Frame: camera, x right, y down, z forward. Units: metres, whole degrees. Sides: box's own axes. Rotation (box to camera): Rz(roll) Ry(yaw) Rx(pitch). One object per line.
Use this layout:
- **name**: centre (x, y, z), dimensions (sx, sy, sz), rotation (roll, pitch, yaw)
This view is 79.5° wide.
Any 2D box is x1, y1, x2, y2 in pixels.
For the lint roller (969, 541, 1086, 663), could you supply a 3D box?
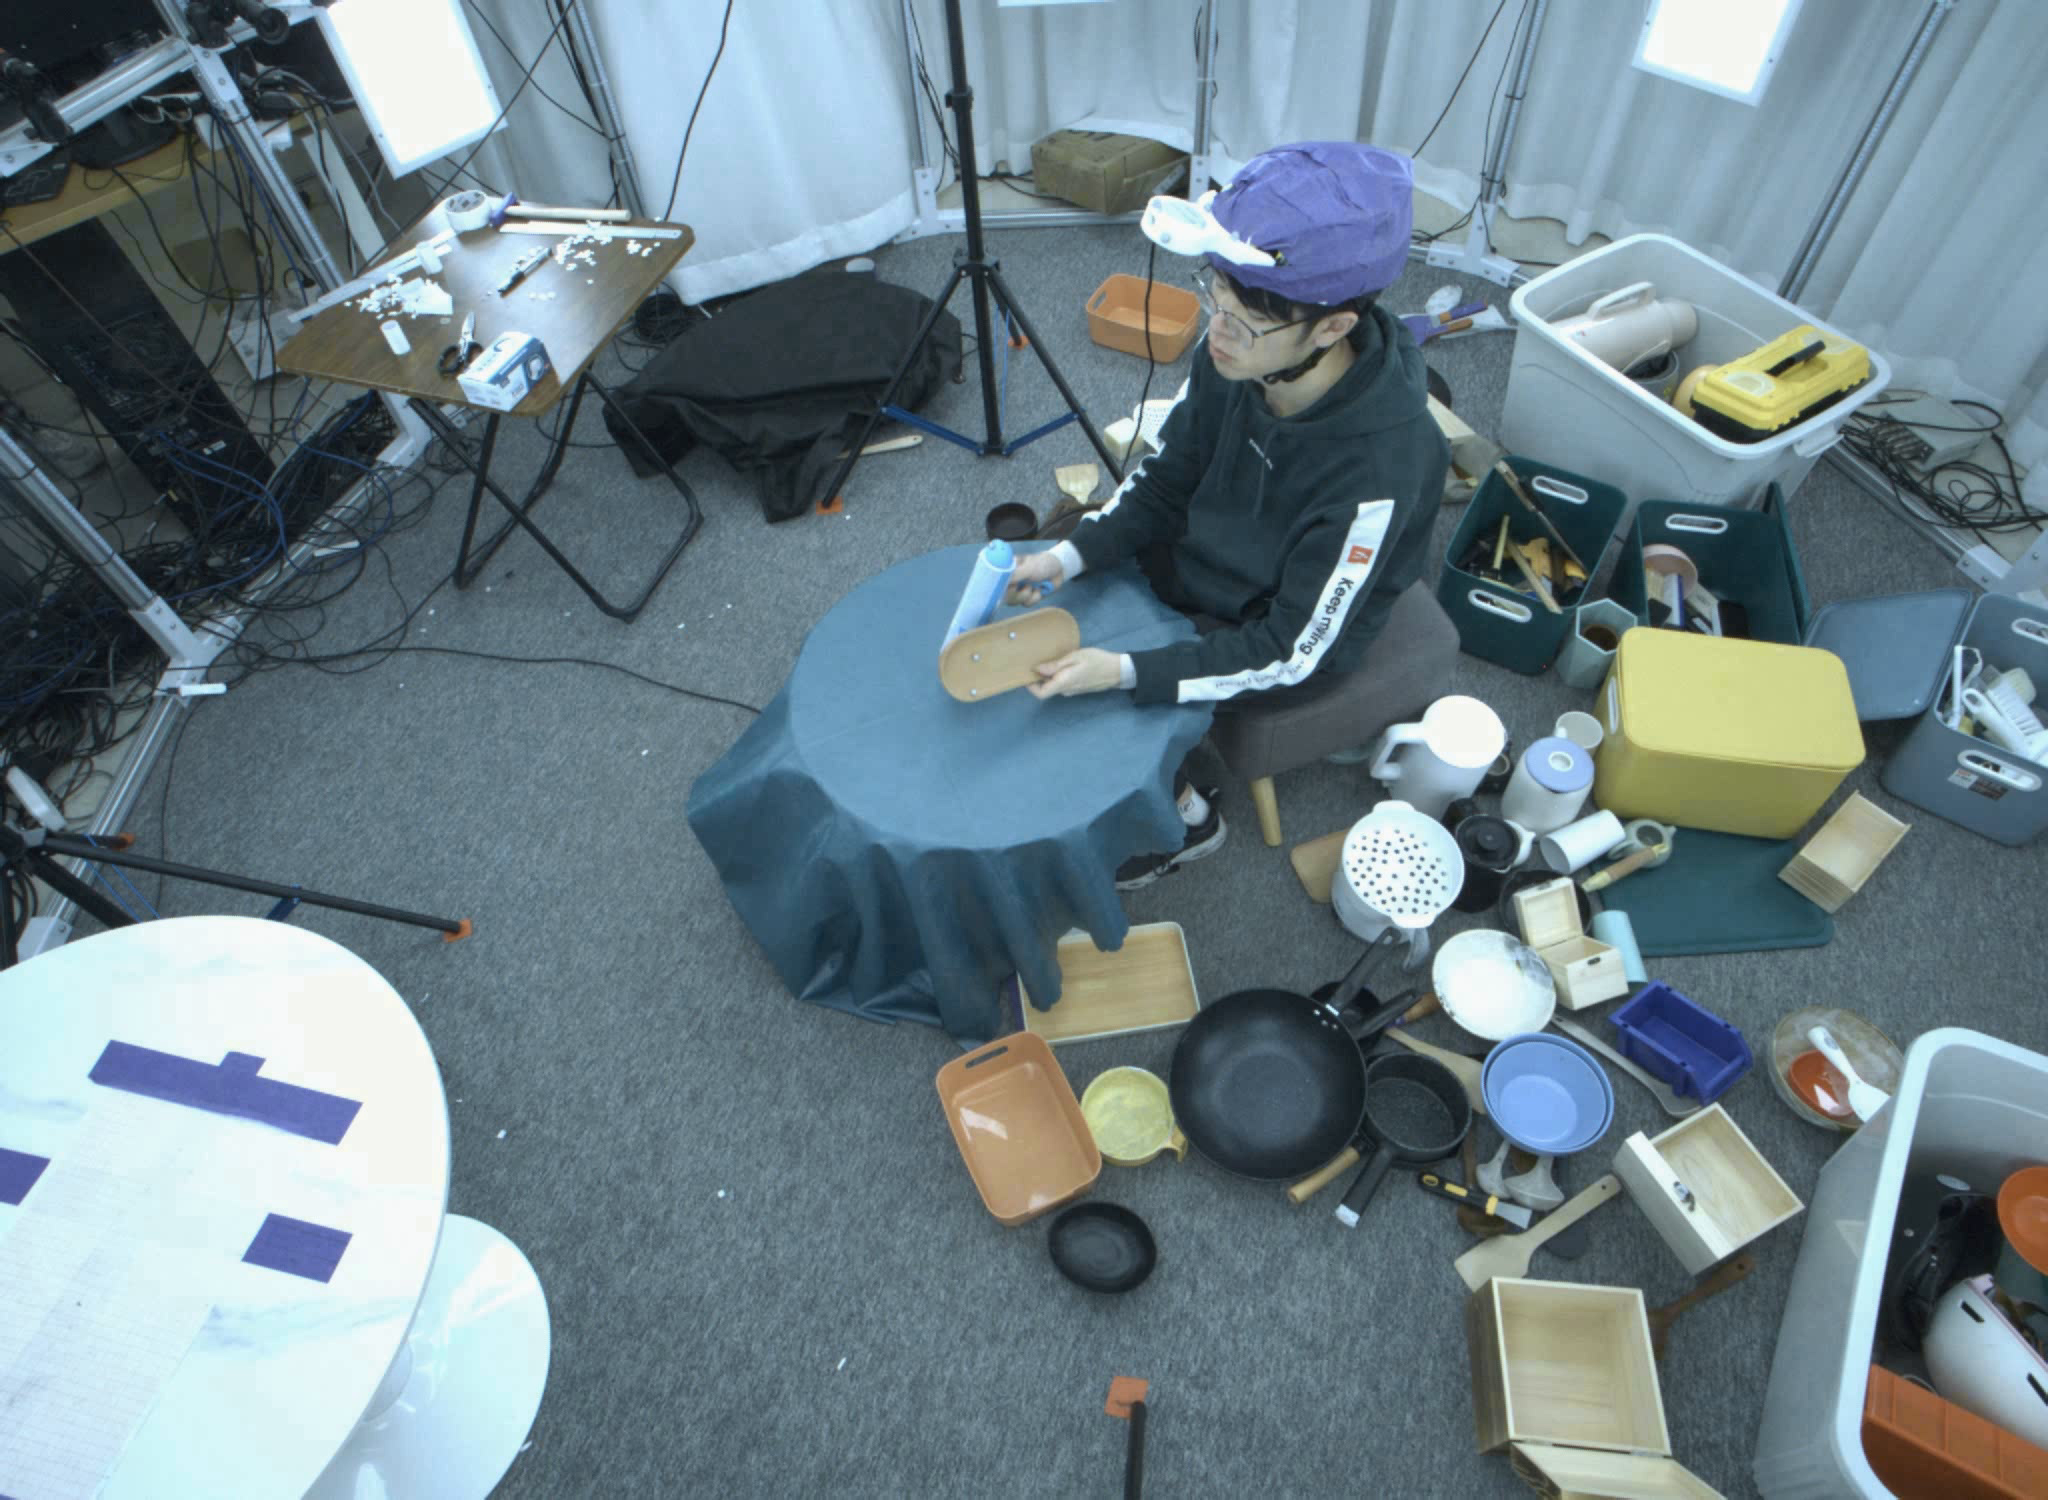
- **lint roller**: centre (0.013, -0.221, 1.806), dimensions (0.067, 0.228, 0.183), rotation (43, 42, 17)

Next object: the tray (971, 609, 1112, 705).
- **tray**: centre (0.026, -0.134, 1.745), dimensions (0.234, 0.102, 0.020), rotation (-21, 28, -27)
